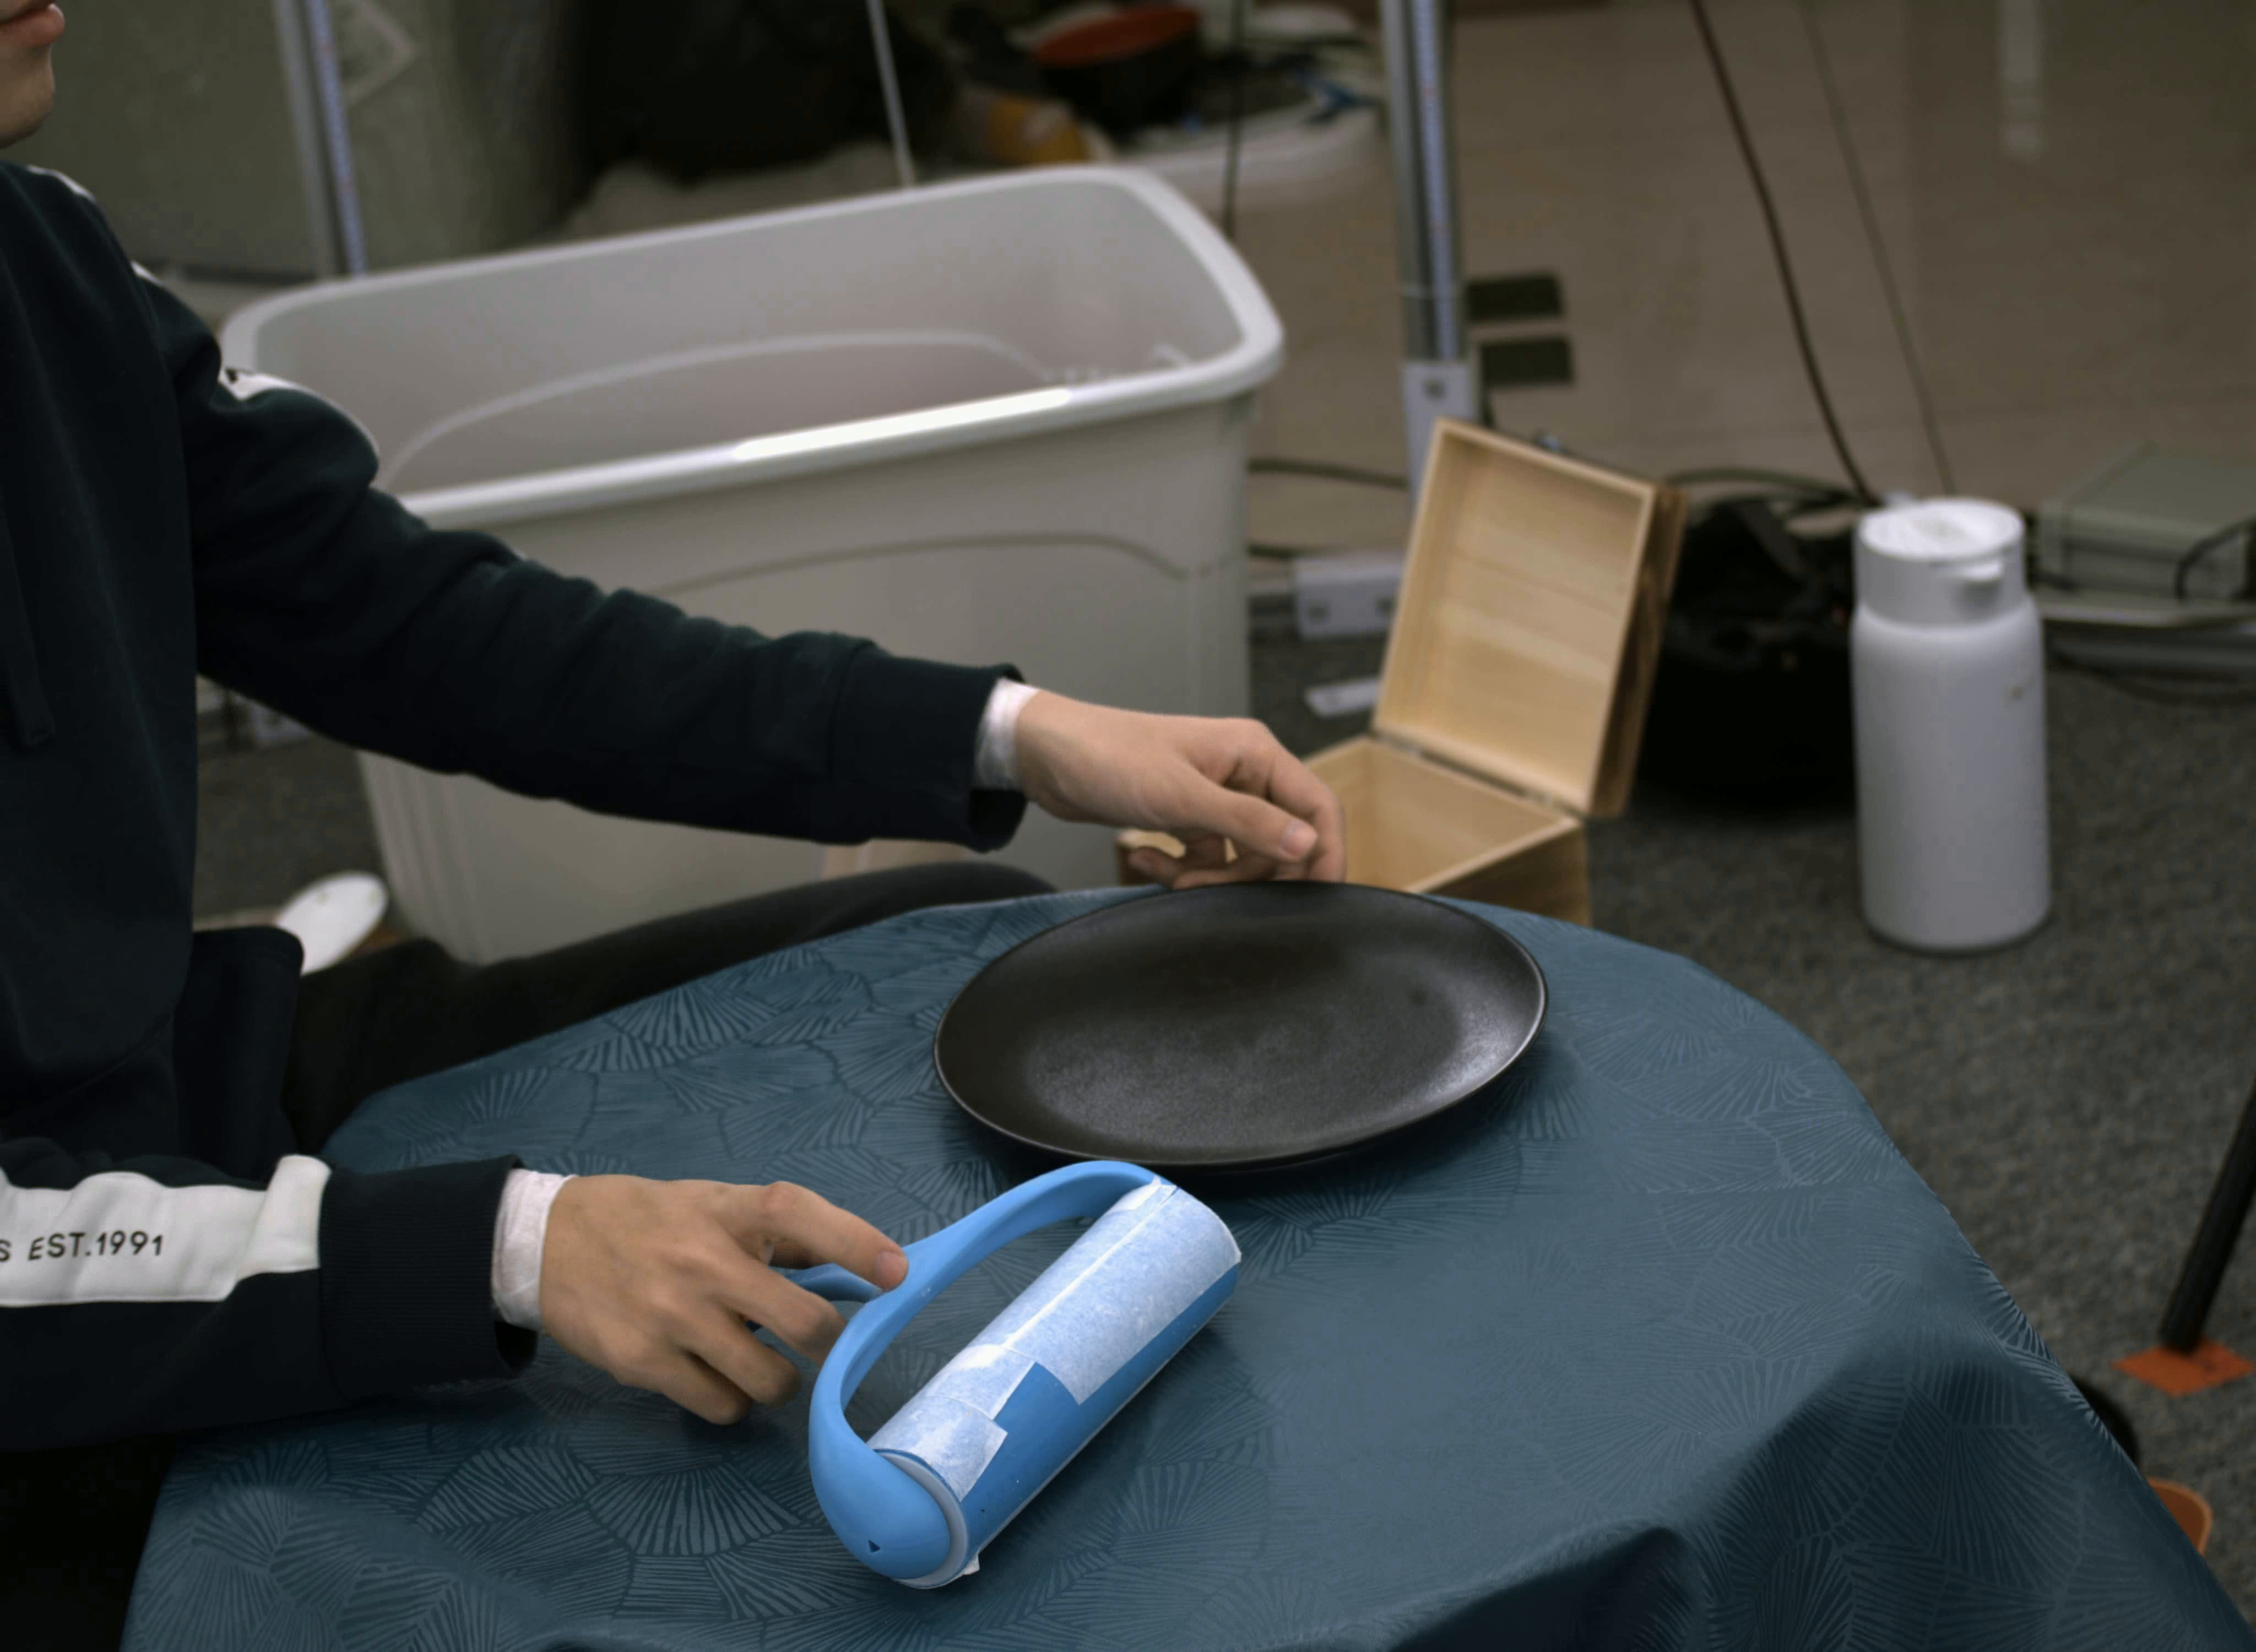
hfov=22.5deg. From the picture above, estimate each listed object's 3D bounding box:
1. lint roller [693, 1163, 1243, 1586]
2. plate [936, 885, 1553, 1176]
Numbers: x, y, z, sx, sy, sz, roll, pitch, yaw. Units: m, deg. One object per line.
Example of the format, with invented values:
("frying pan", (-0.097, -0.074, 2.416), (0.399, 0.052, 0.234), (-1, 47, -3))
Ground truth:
("lint roller", (-0.080, 0.185, 1.998), (0.179, 0.069, 0.226), (6, 29, 26))
("plate", (0.046, 0.084, 2.223), (0.244, 0.024, 0.241), (-5, 25, 3))
